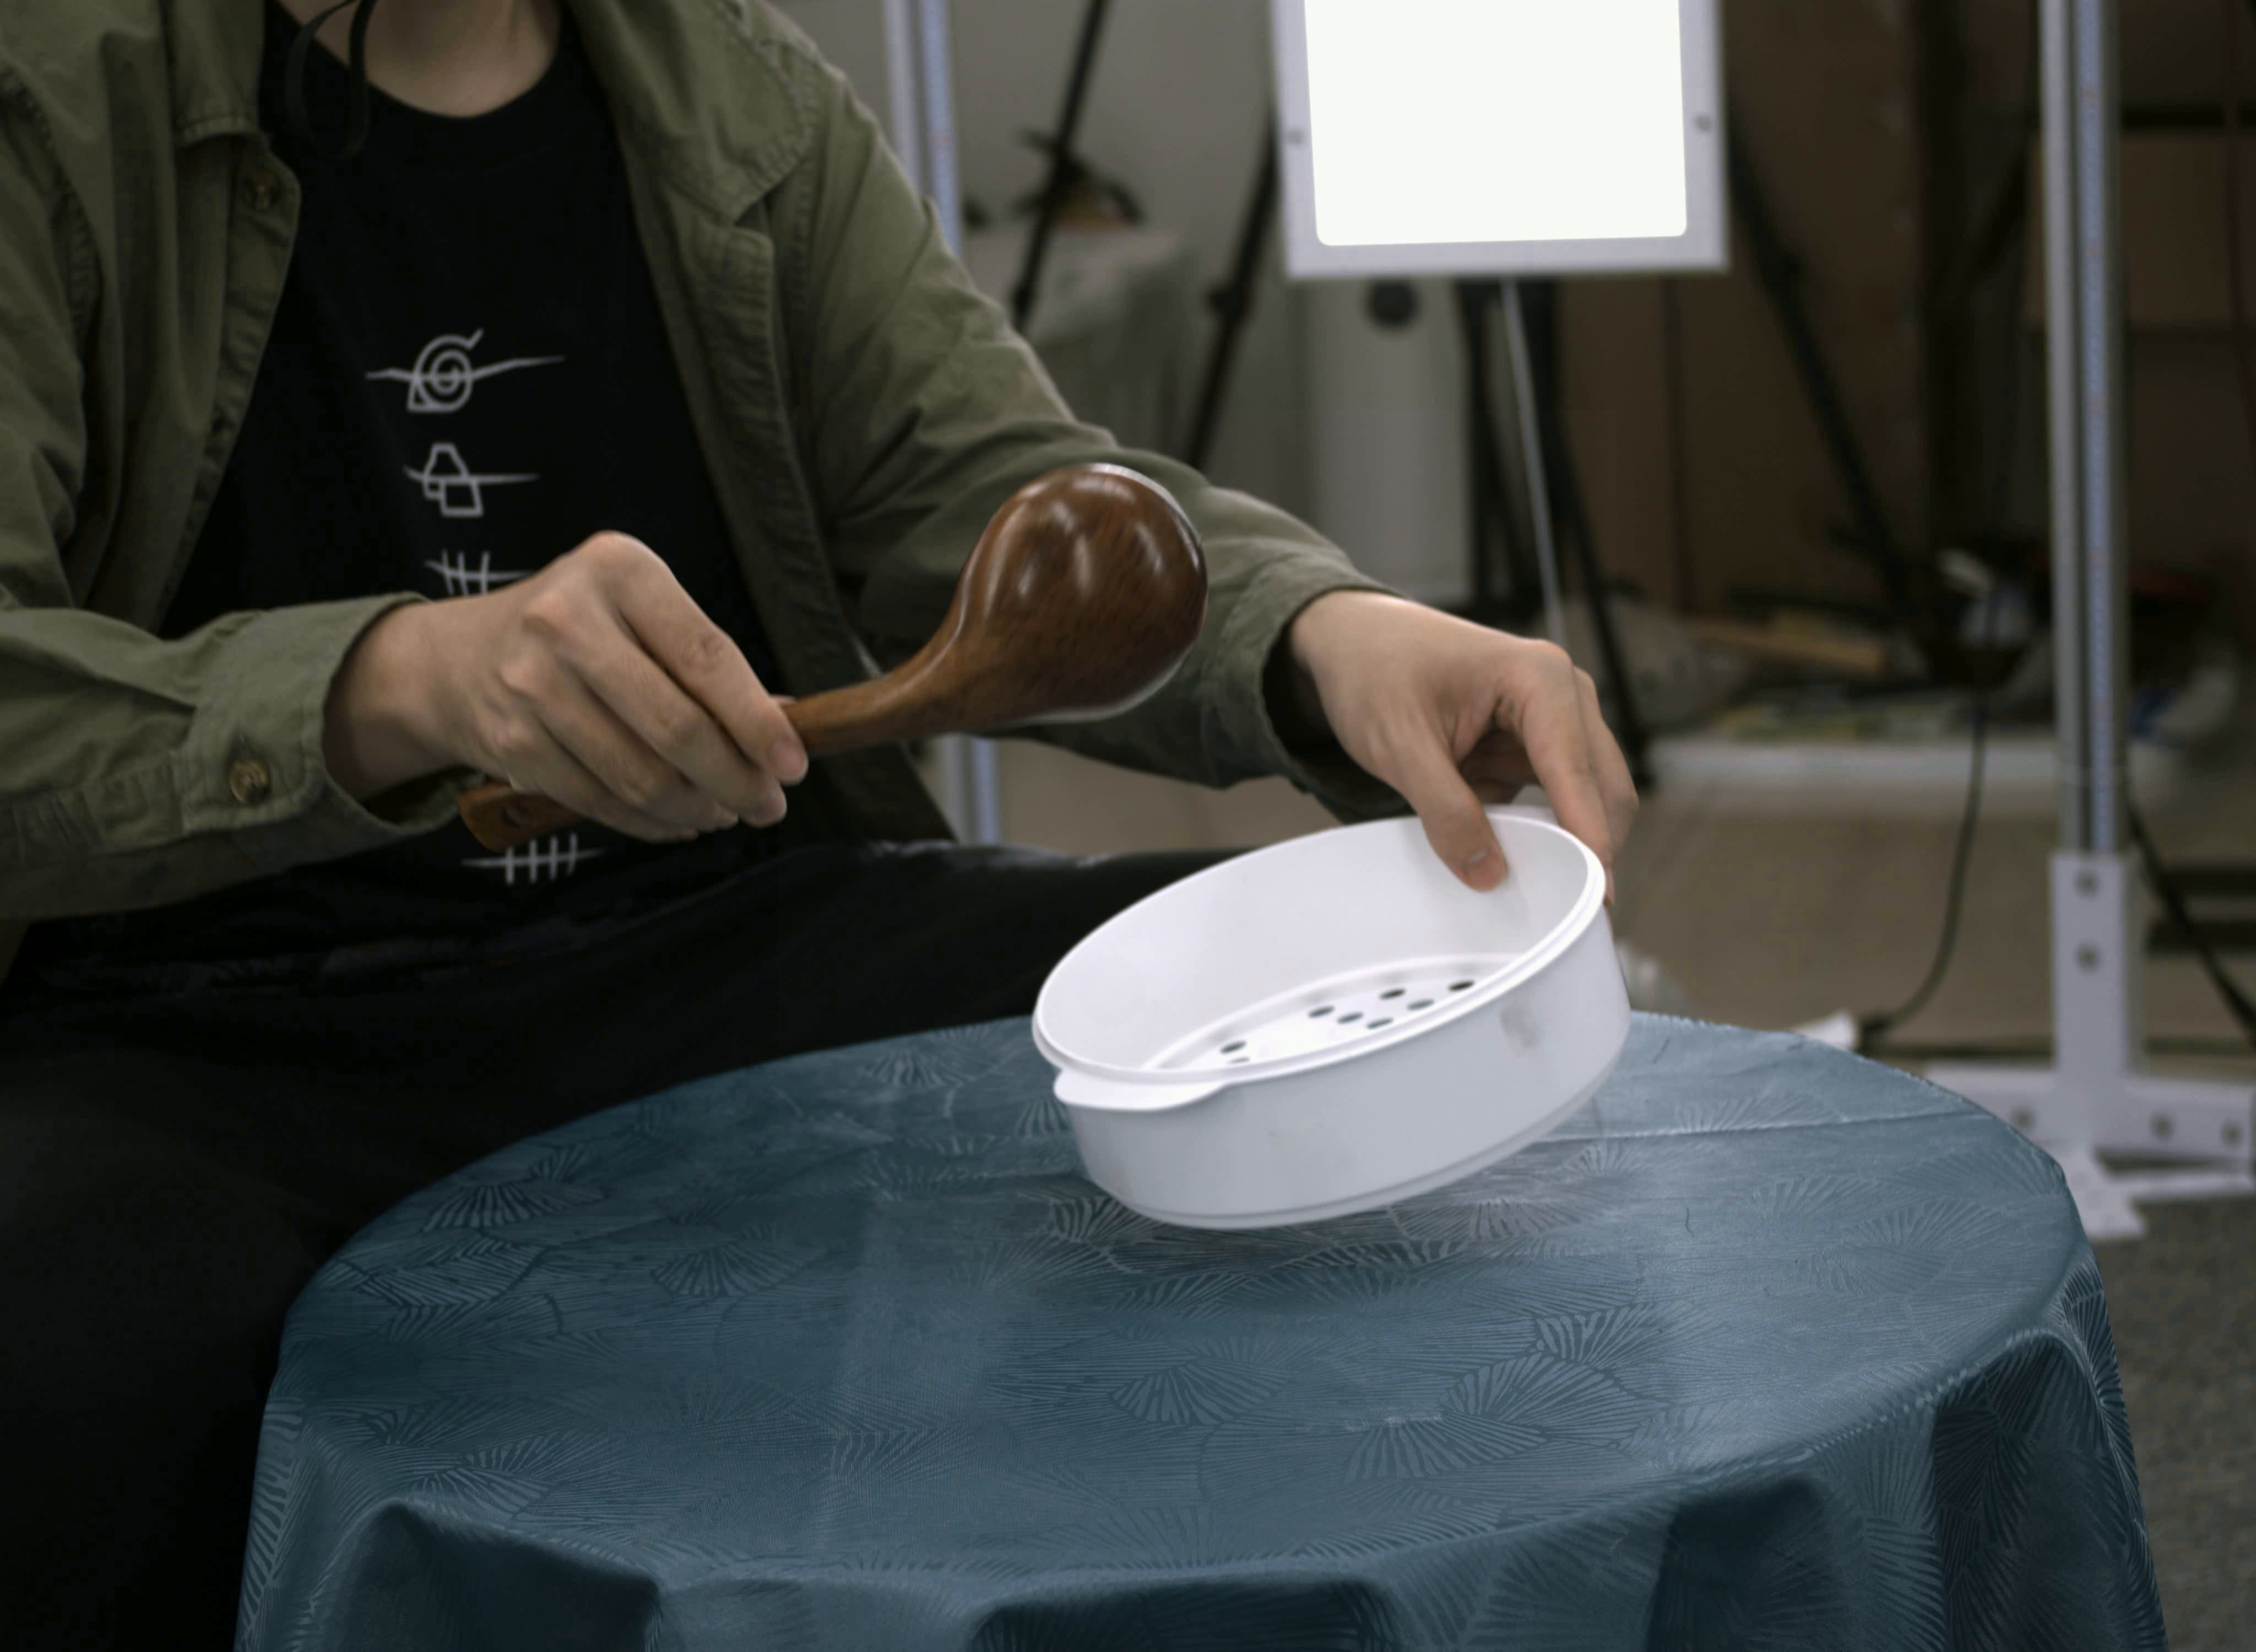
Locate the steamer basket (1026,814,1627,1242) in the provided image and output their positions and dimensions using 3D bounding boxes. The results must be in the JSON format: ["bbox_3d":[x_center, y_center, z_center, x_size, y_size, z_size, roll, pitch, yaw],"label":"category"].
[{"bbox_3d":[0.070,0.070,1.856,0.206,0.069,0.225,3,28,44],"label":"steamer basket"}]

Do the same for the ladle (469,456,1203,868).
[{"bbox_3d":[-0.097,-0.049,1.733,0.280,0.081,0.075,-15,35,39],"label":"ladle"}]
